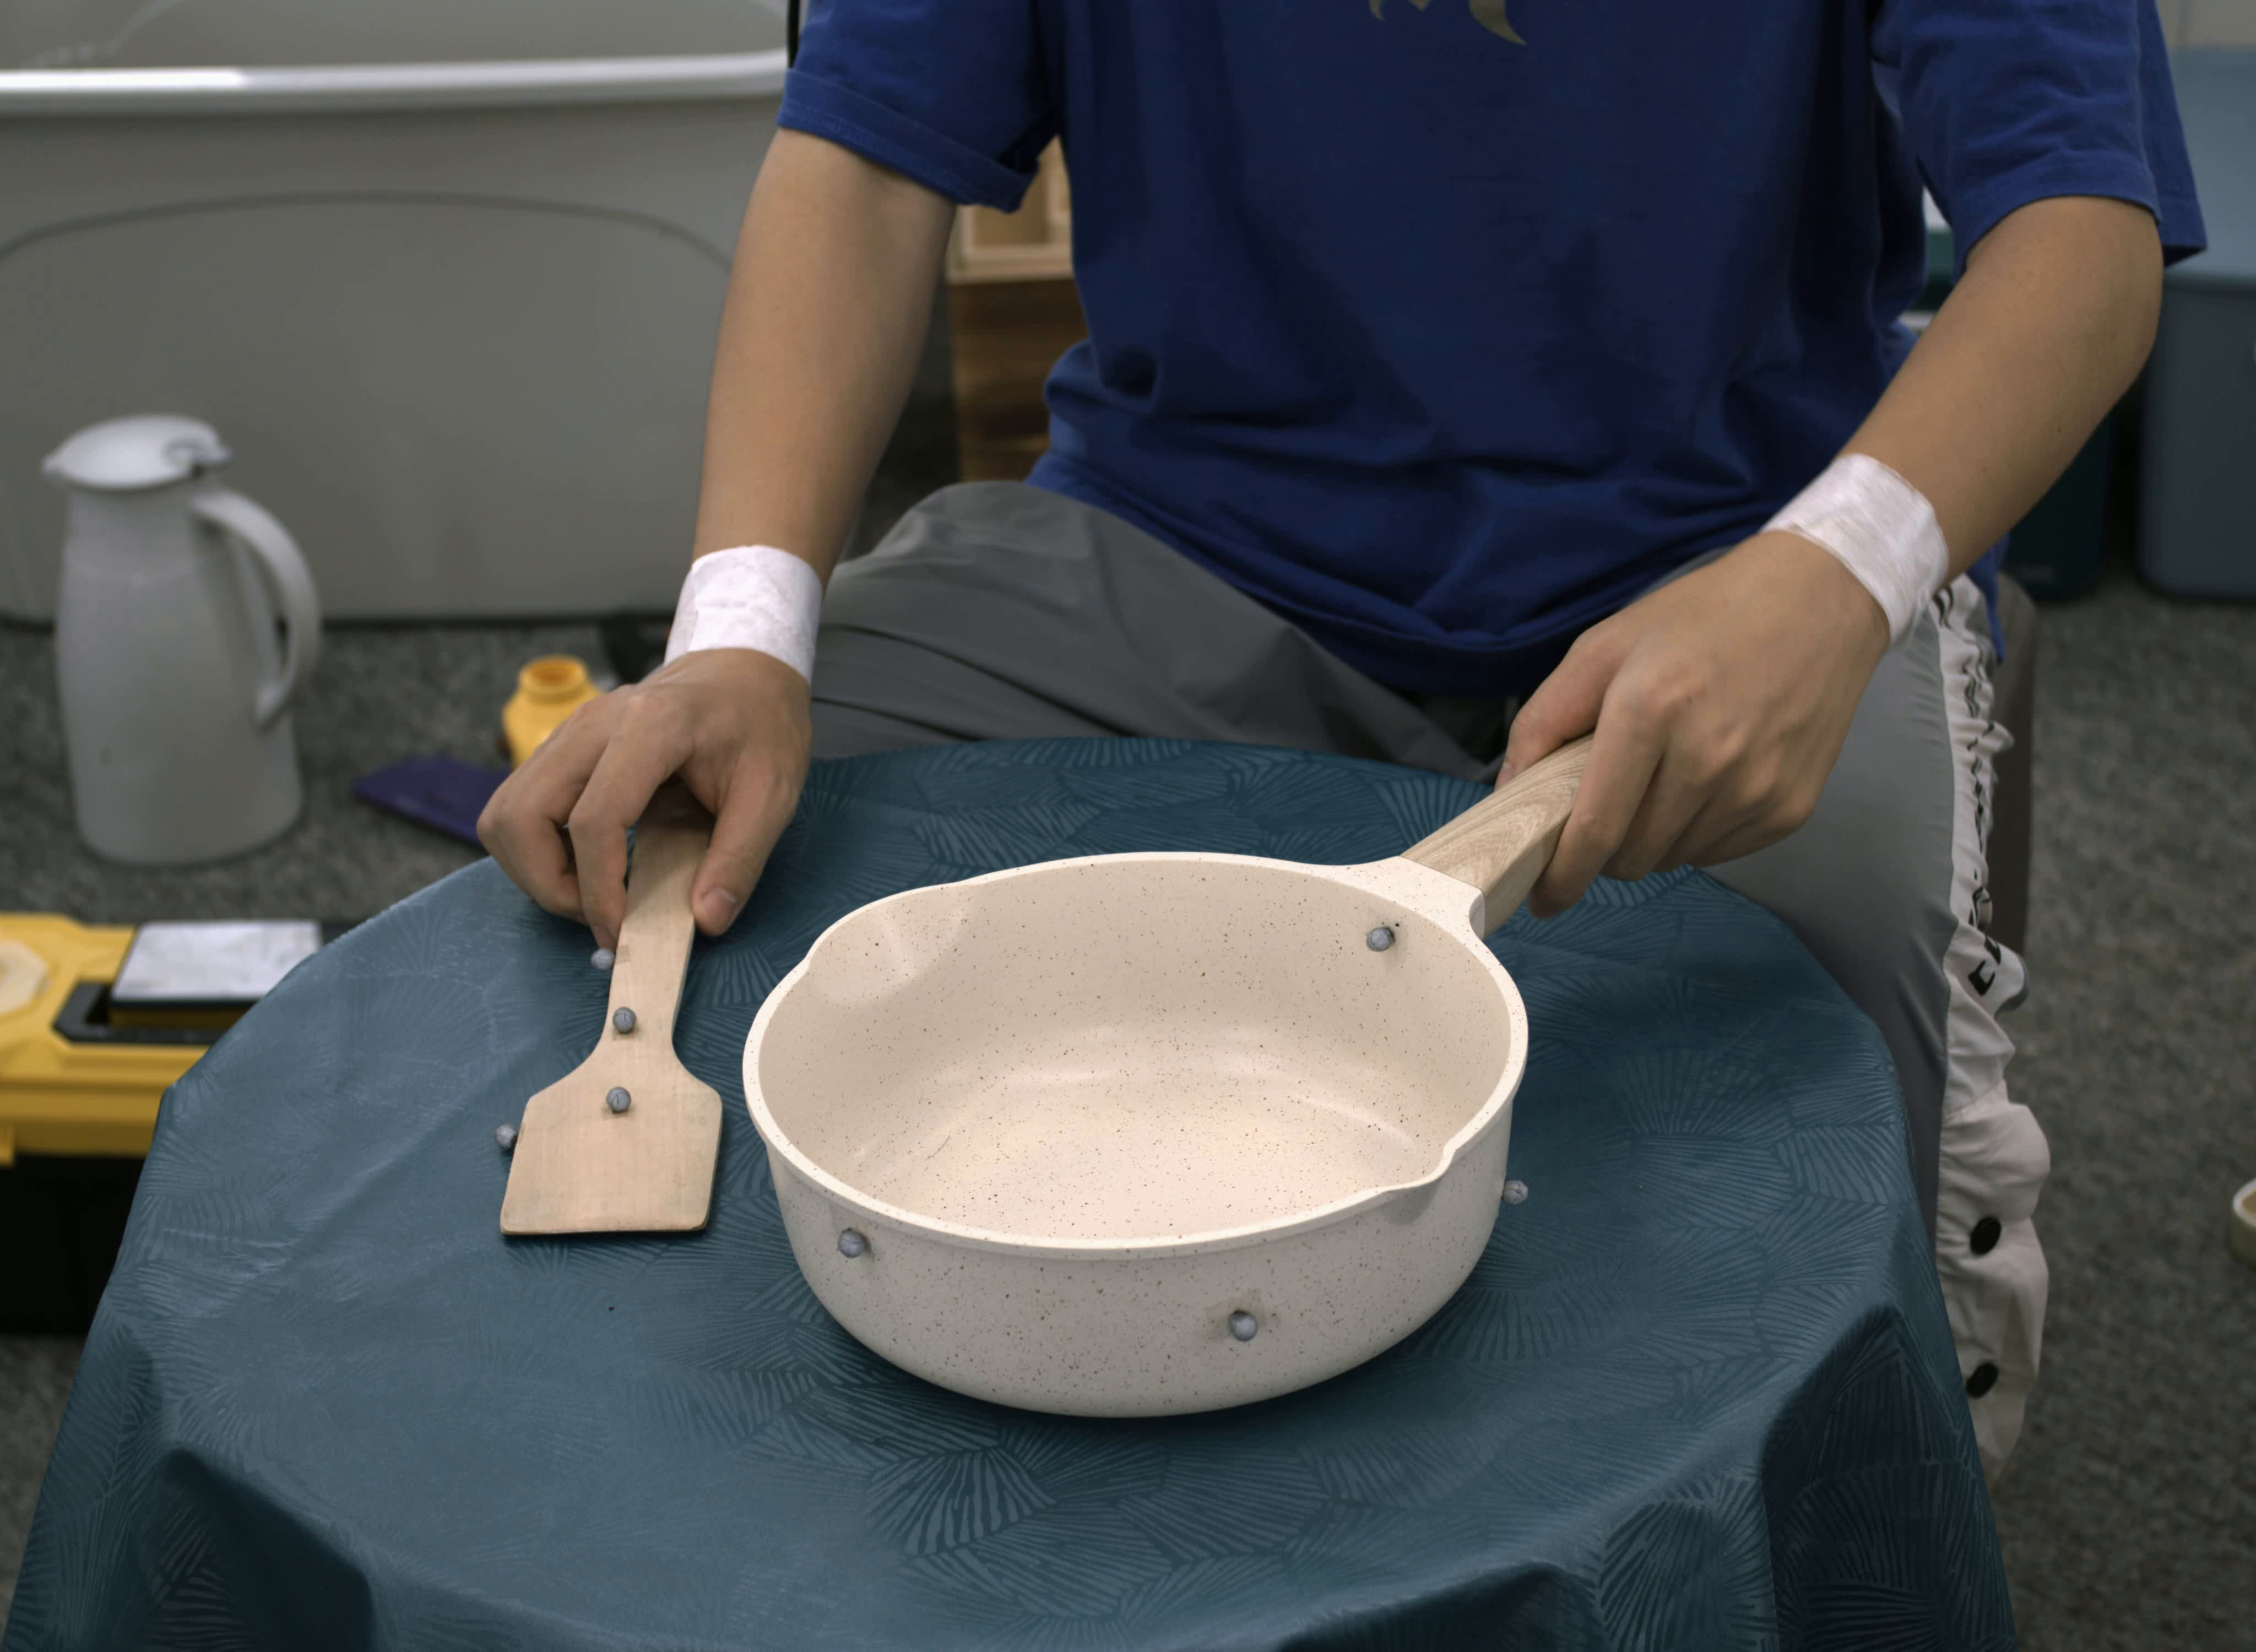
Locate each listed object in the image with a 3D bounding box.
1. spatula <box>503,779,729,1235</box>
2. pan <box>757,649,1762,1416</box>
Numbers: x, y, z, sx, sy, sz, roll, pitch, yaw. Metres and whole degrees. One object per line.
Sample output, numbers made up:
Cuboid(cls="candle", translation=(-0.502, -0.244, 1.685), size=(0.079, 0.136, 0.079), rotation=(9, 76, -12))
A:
Cuboid(cls="spatula", translation=(-0.169, 0.060, 1.977), size=(0.072, 0.010, 0.298), rotation=(-2, 31, 3))
Cuboid(cls="pan", translation=(0.072, 0.063, 1.860), size=(0.262, 0.101, 0.440), rotation=(20, 35, 40))
